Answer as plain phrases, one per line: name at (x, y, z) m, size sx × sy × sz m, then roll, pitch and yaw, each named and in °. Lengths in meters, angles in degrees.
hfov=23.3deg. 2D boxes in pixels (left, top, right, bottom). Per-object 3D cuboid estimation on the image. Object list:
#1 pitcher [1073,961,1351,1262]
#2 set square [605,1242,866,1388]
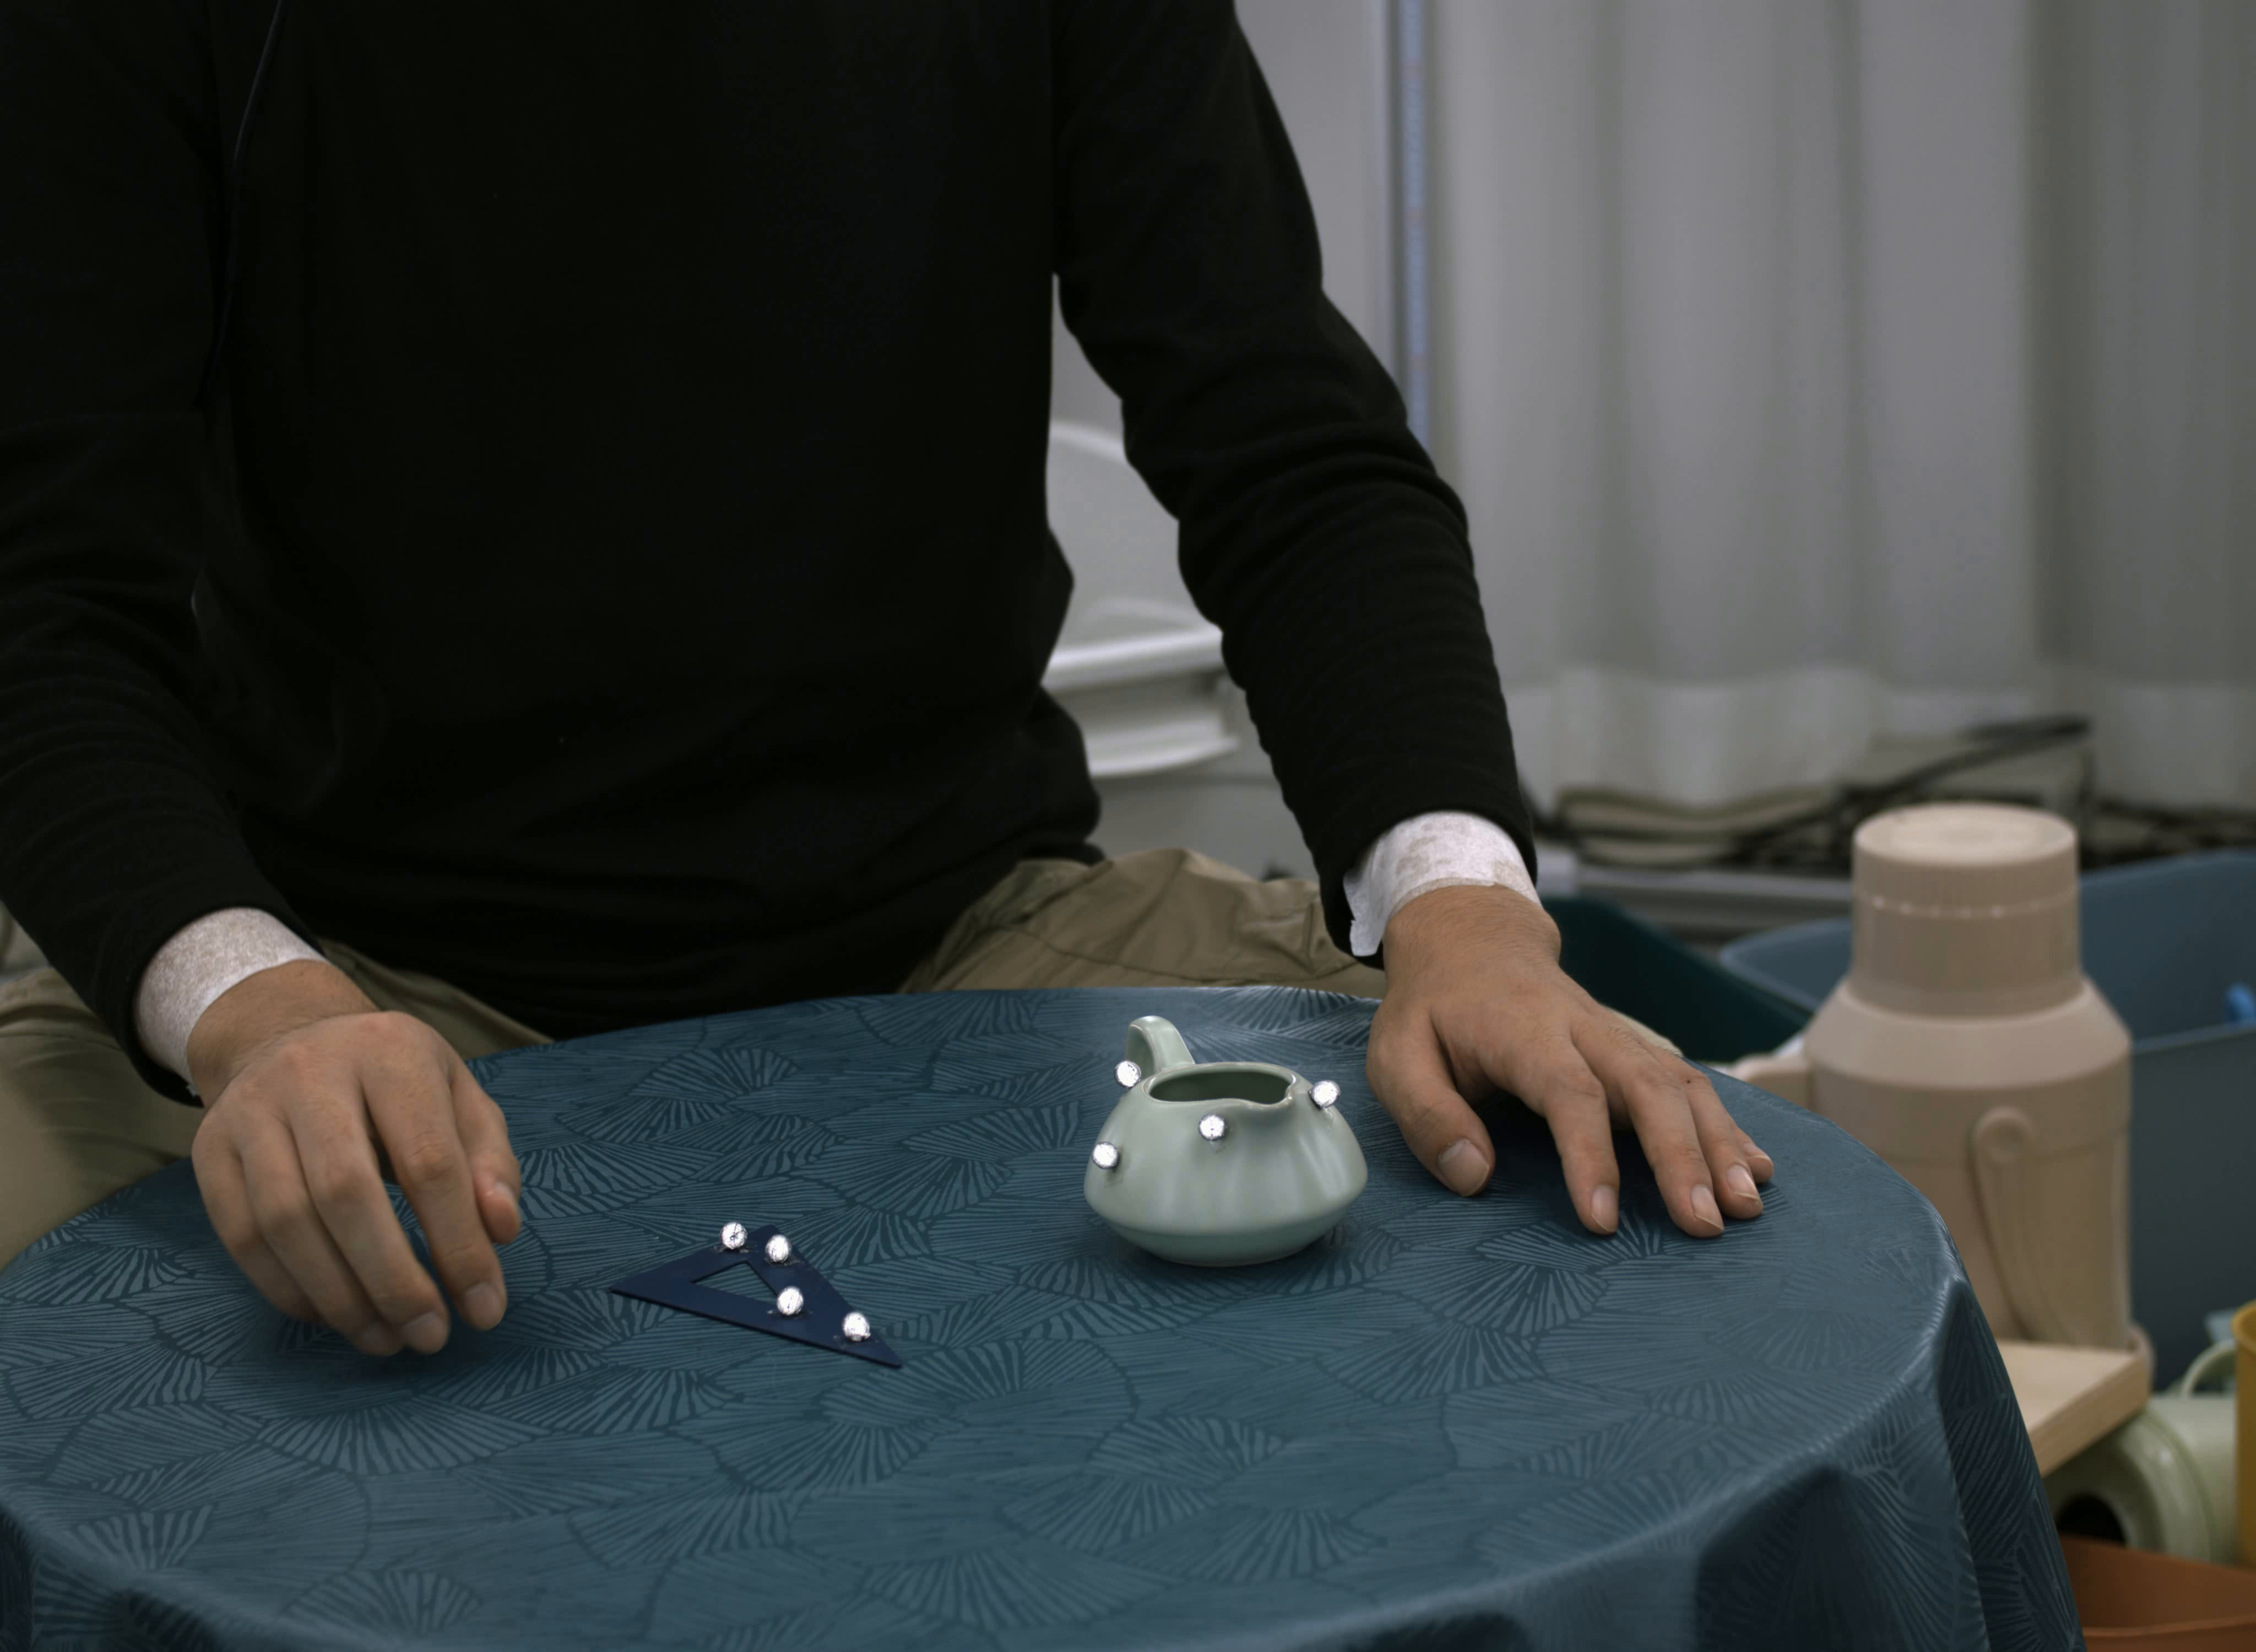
pitcher at (0.022, 0.089, 1.675) m, size 0.086 × 0.060 × 0.109 m, roll -14°, pitch 32°, yaw -3°
set square at (-0.118, 0.145, 1.613) m, size 0.061 × 0.006 × 0.133 m, roll -6°, pitch 15°, yaw -15°
